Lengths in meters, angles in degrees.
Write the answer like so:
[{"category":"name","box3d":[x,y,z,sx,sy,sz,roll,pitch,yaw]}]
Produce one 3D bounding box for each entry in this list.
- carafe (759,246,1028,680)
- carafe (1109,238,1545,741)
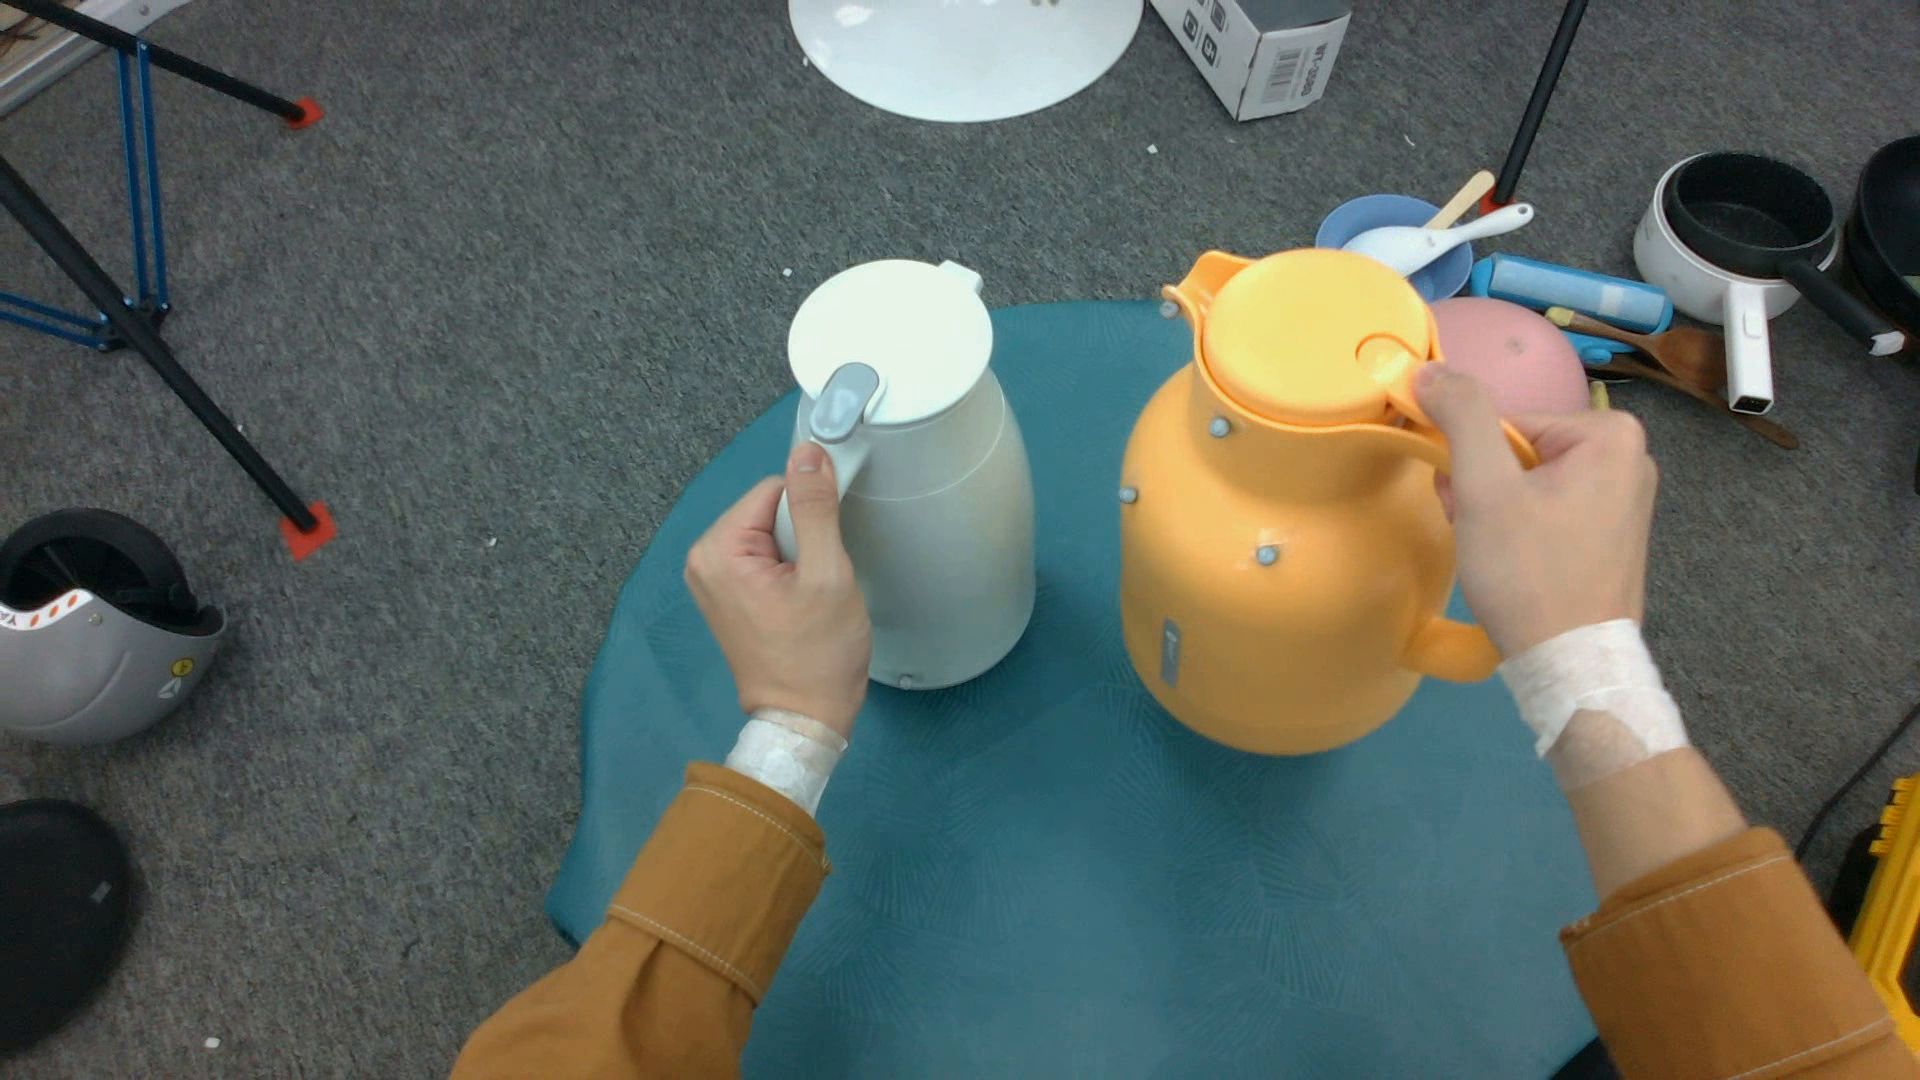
[{"category":"carafe","box3d":[-0.040,-0.023,0.702,0.132,0.247,0.168,25,65,16]},{"category":"carafe","box3d":[0.164,-0.011,0.649,0.164,0.259,0.202,-41,60,-17]}]
